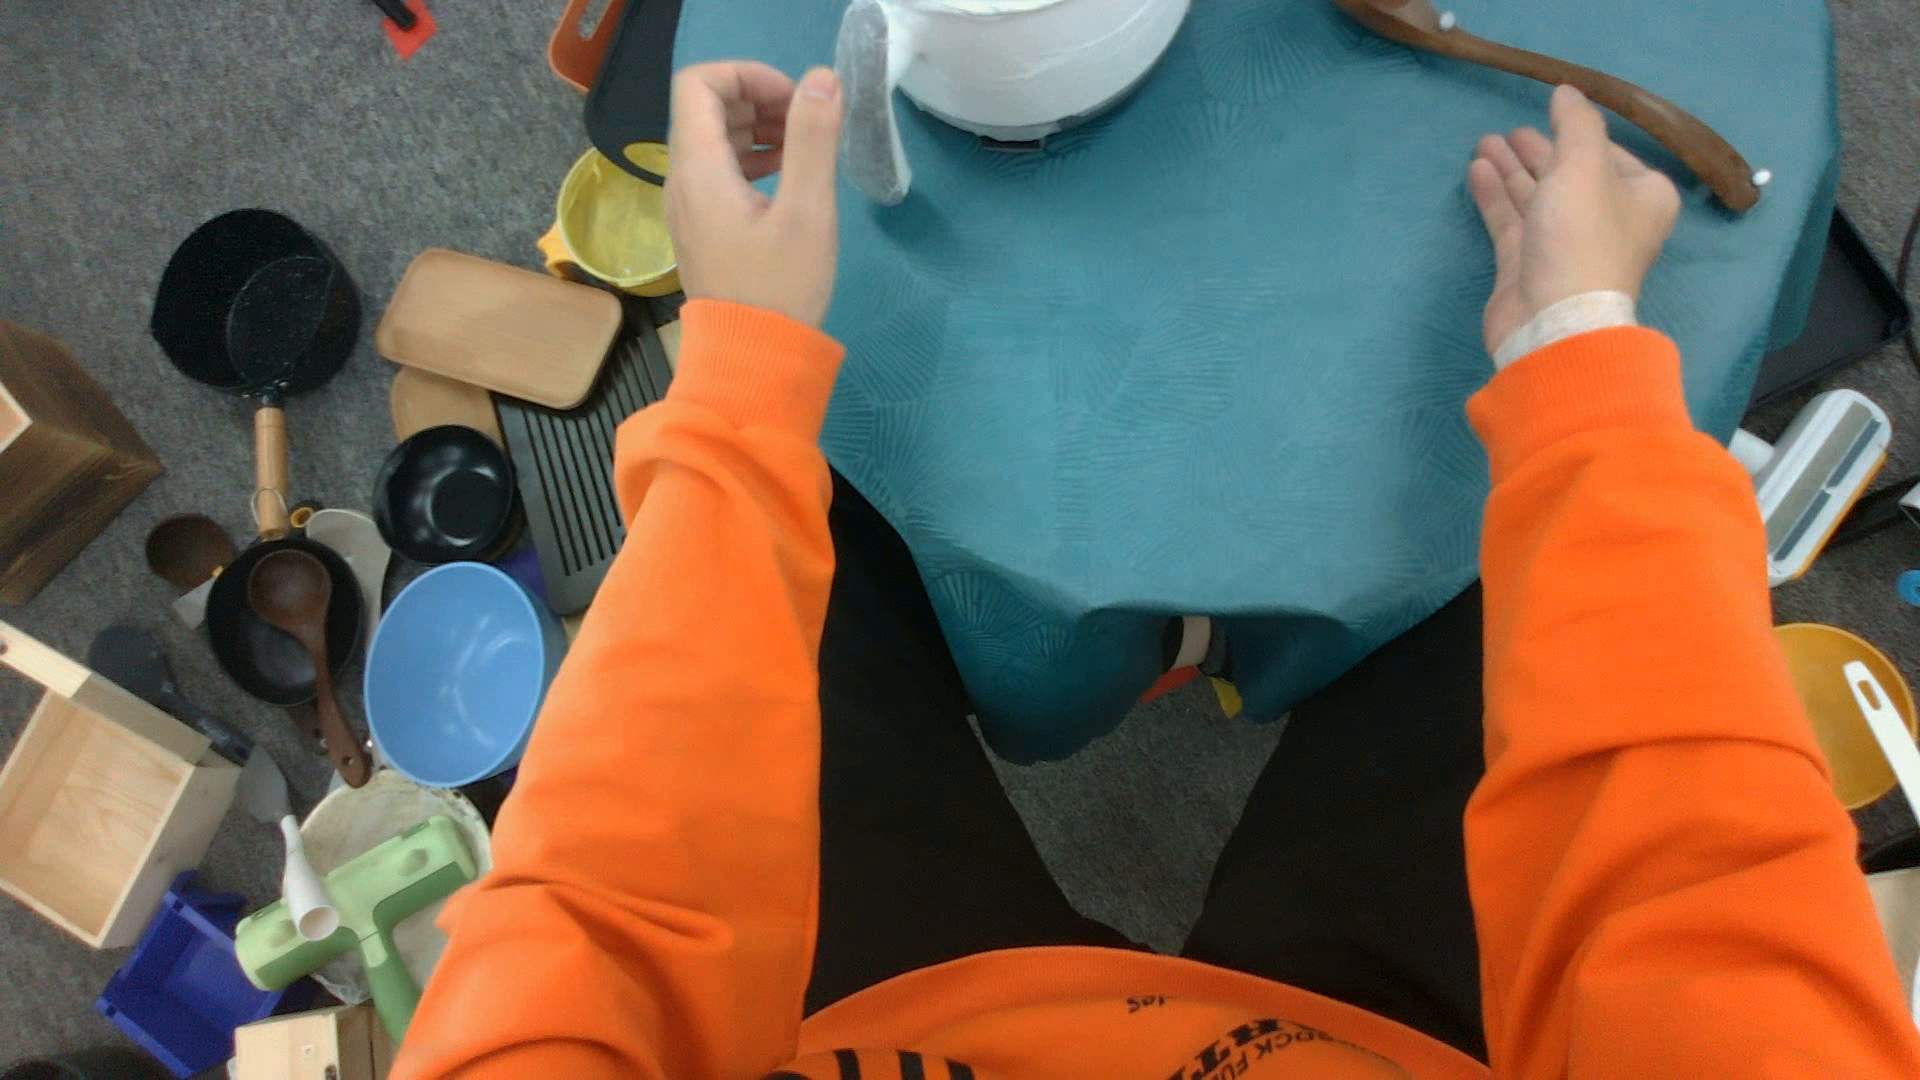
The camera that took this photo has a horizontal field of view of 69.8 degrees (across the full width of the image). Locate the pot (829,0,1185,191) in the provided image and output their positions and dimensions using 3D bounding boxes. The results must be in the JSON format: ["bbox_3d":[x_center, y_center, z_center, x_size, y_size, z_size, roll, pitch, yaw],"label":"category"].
[{"bbox_3d":[0.012,-0.286,0.680,0.179,0.136,0.234,33,84,14],"label":"pot"}]

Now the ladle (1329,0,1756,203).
[{"bbox_3d":[0.280,-0.250,0.674,0.260,0.065,0.077,33,60,14],"label":"ladle"}]
